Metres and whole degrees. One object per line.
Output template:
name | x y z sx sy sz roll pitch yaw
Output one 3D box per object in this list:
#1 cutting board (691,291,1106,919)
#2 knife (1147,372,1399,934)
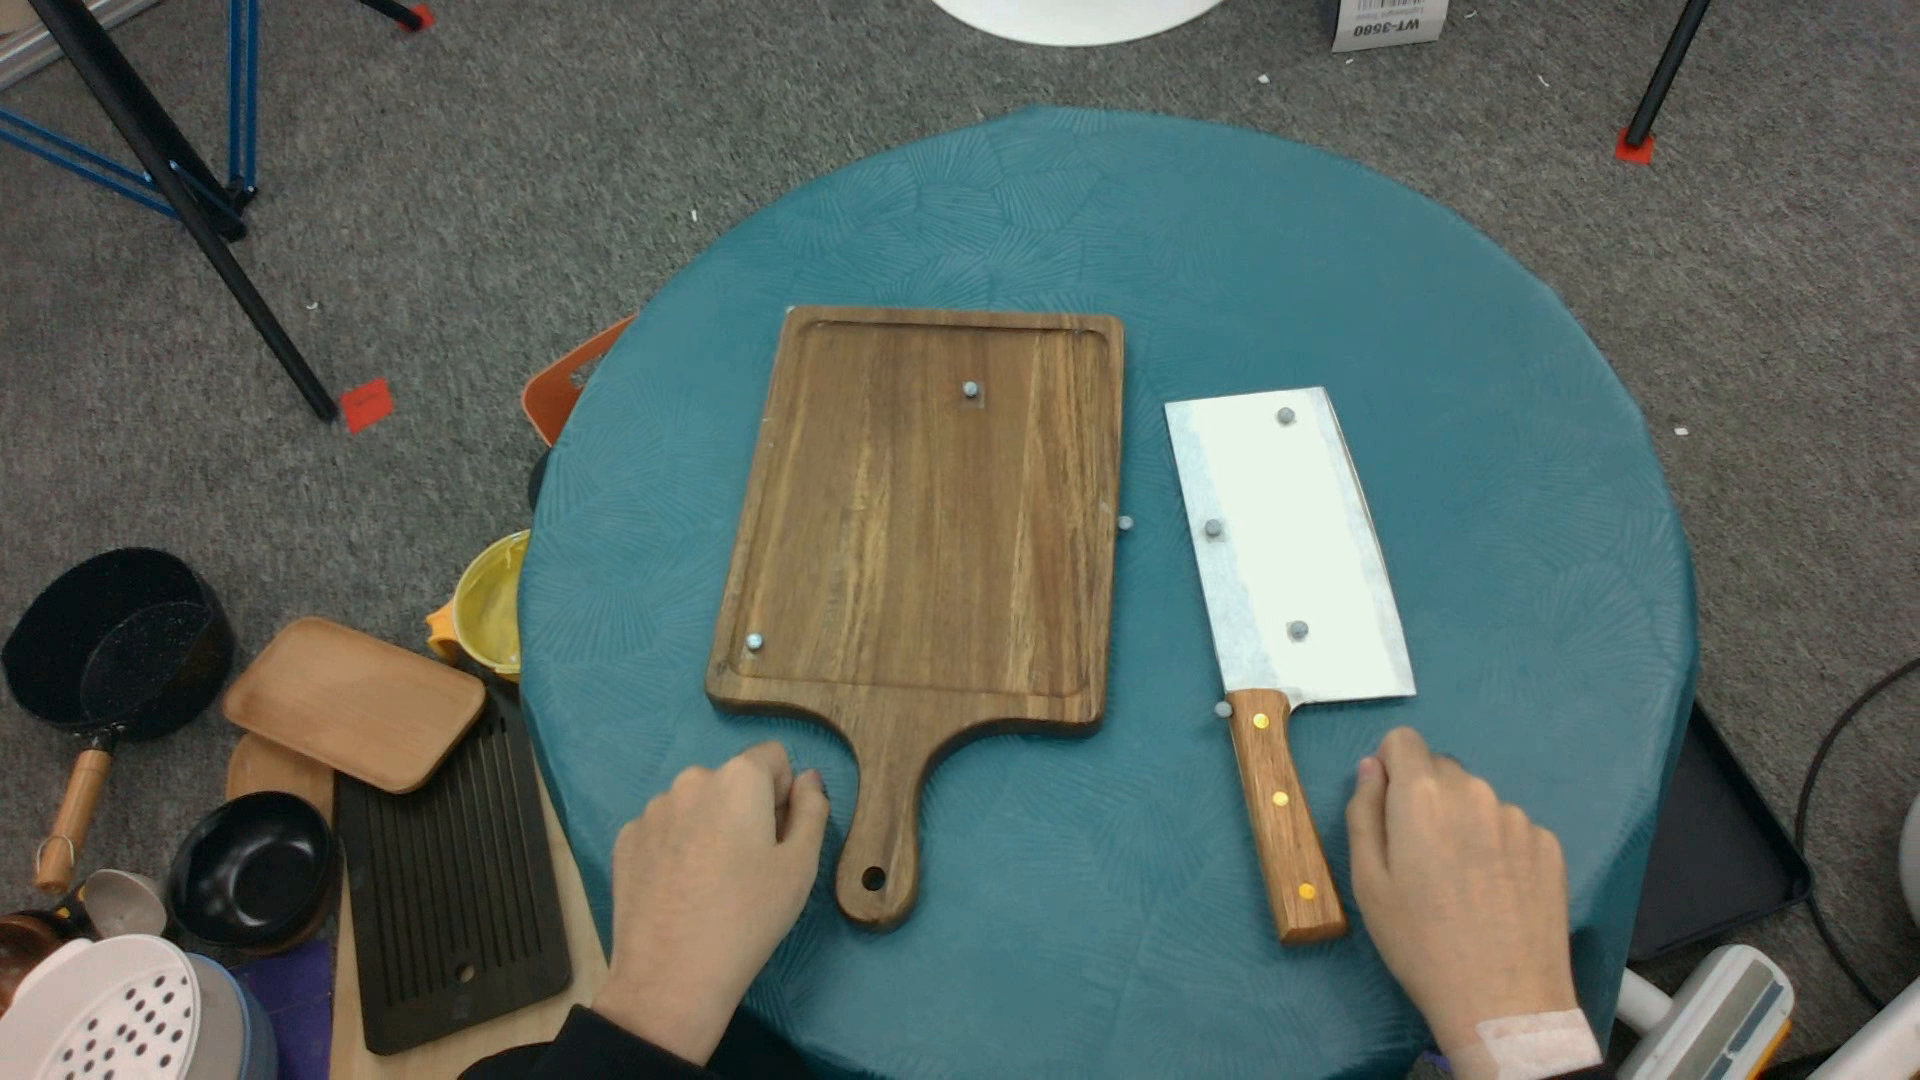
cutting board | -0.028 0.013 0.698 0.201 0.023 0.353 2 60 5
knife | 0.161 0.037 0.674 0.093 0.021 0.307 -6 57 -1
